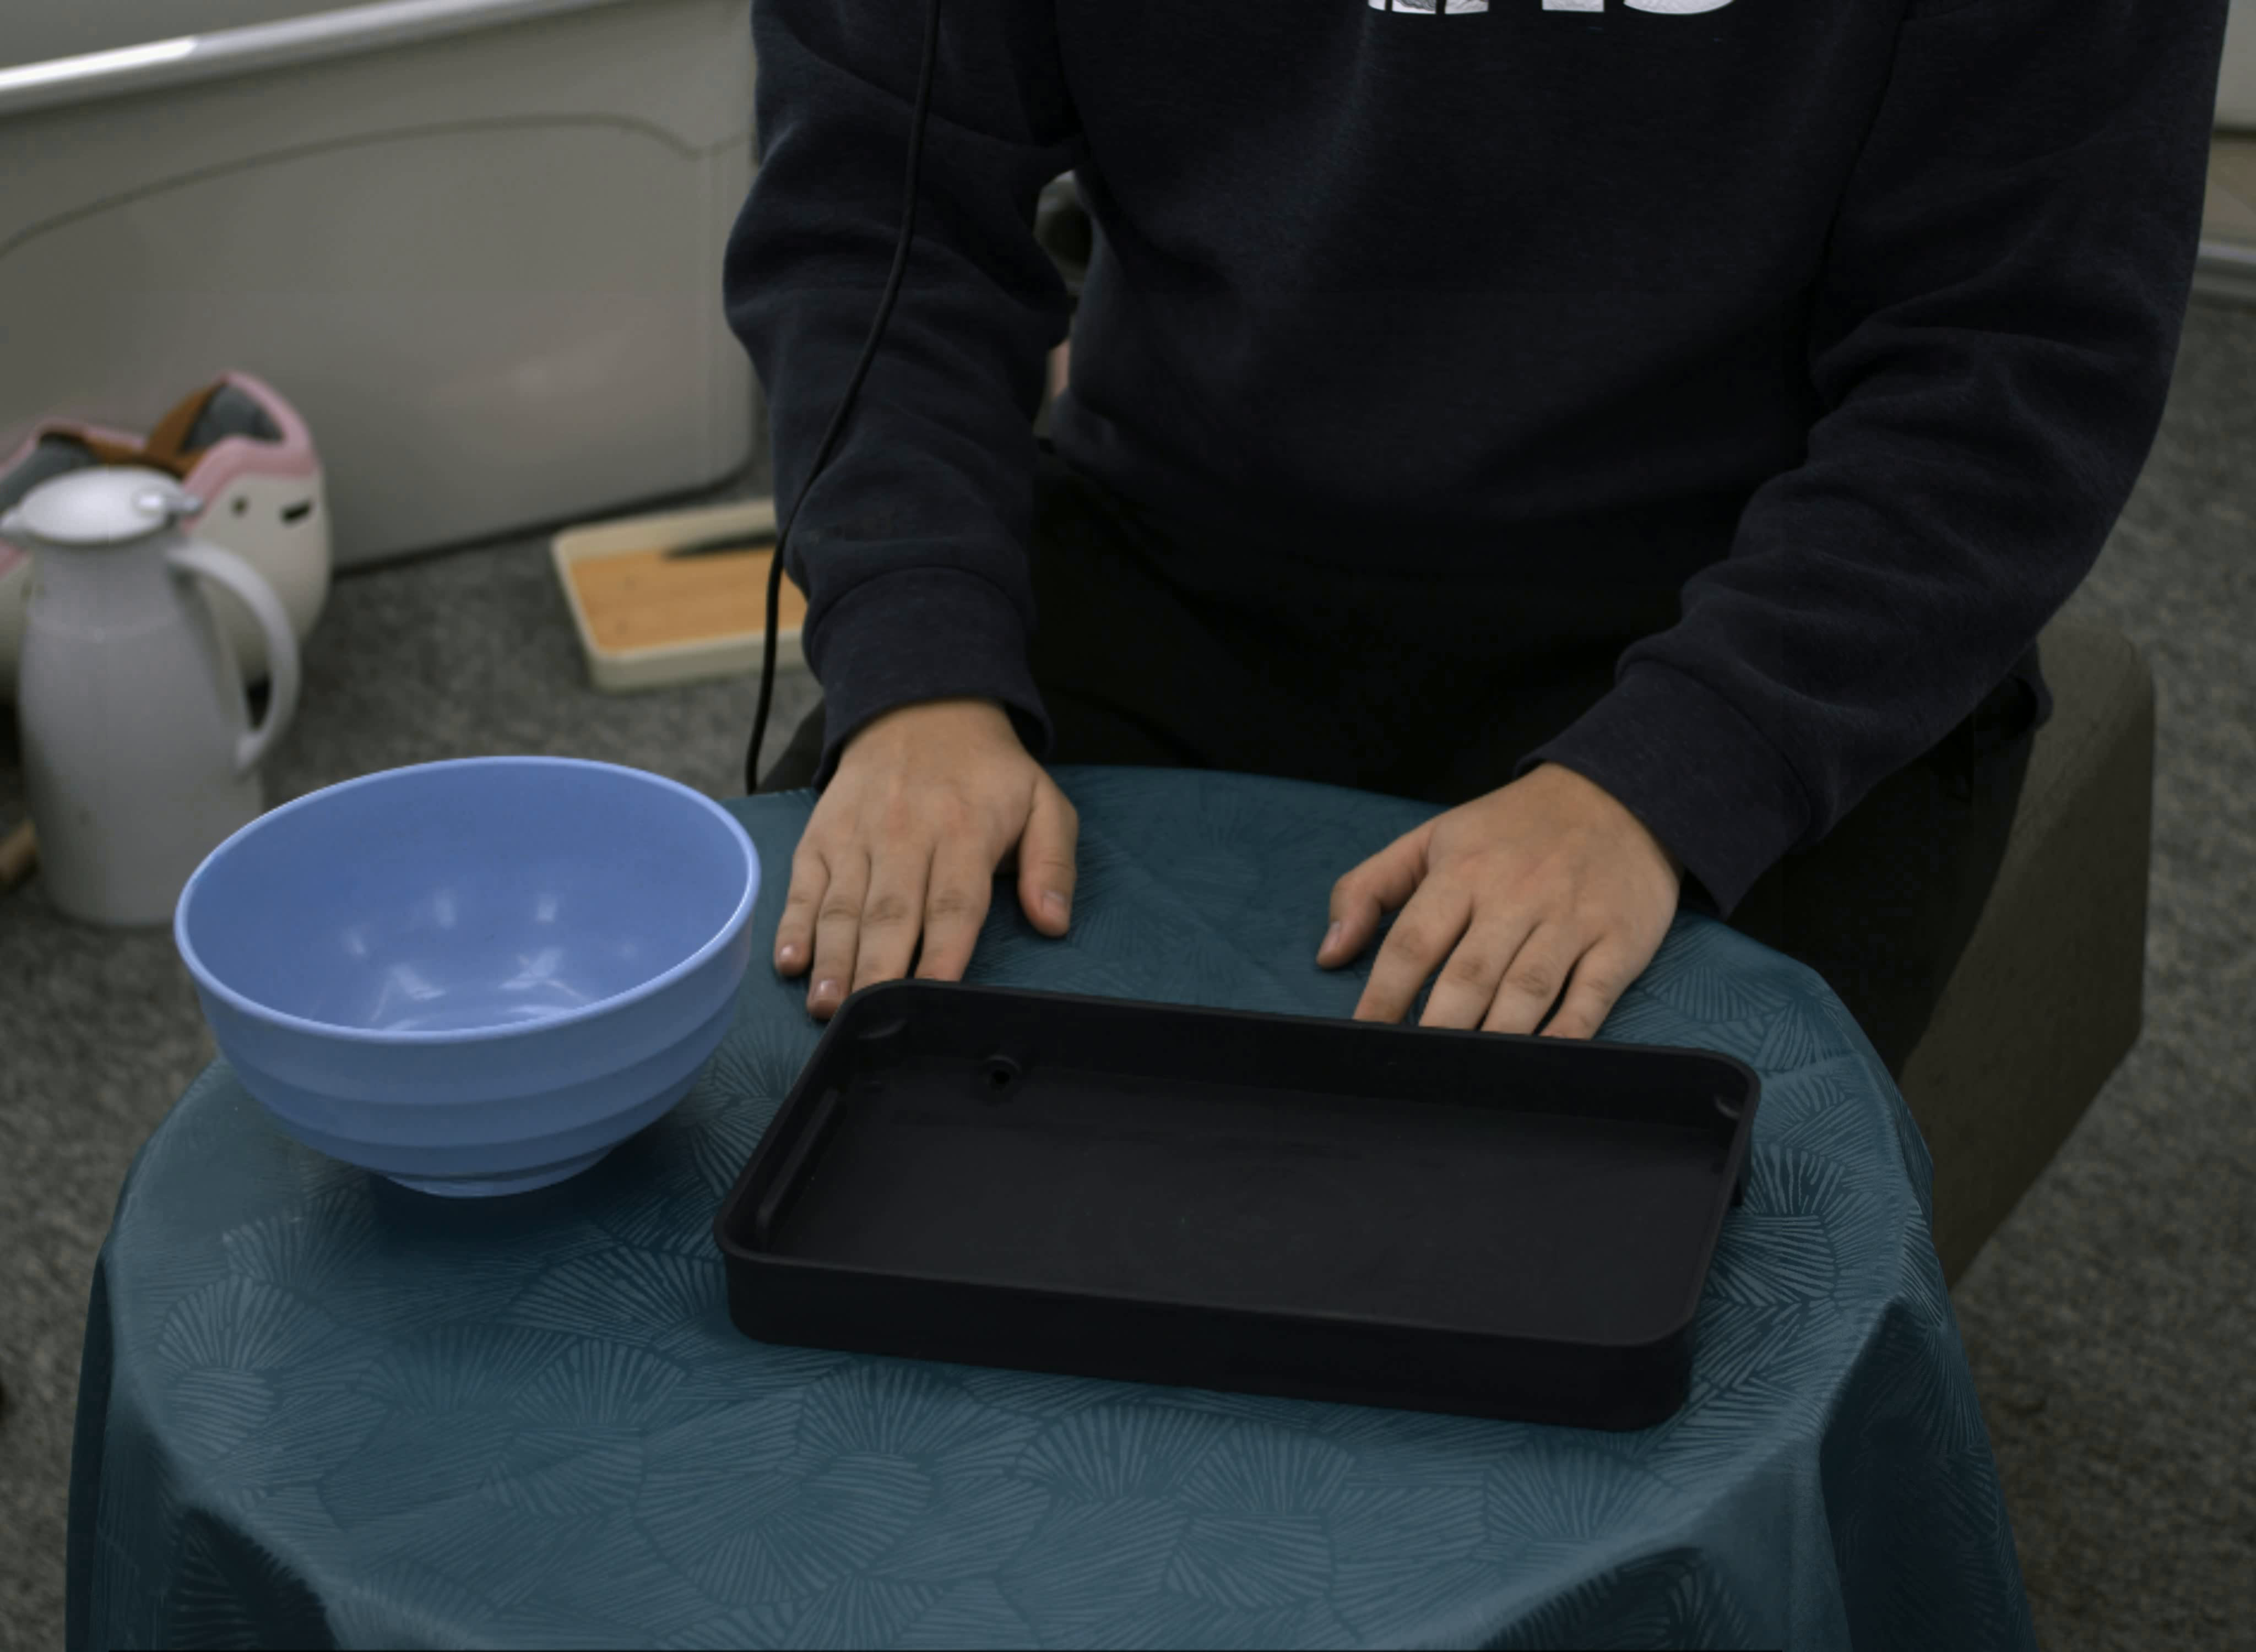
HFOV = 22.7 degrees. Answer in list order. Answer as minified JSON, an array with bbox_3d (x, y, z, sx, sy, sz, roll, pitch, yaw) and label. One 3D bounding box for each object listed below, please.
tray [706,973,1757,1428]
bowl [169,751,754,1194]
[{"bbox_3d":[0.036,0.119,1.827,0.316,0.036,0.187,5,28,13],"label":"tray"},{"bbox_3d":[-0.218,0.061,1.895,0.195,0.094,0.199,-4,27,2],"label":"bowl"}]
